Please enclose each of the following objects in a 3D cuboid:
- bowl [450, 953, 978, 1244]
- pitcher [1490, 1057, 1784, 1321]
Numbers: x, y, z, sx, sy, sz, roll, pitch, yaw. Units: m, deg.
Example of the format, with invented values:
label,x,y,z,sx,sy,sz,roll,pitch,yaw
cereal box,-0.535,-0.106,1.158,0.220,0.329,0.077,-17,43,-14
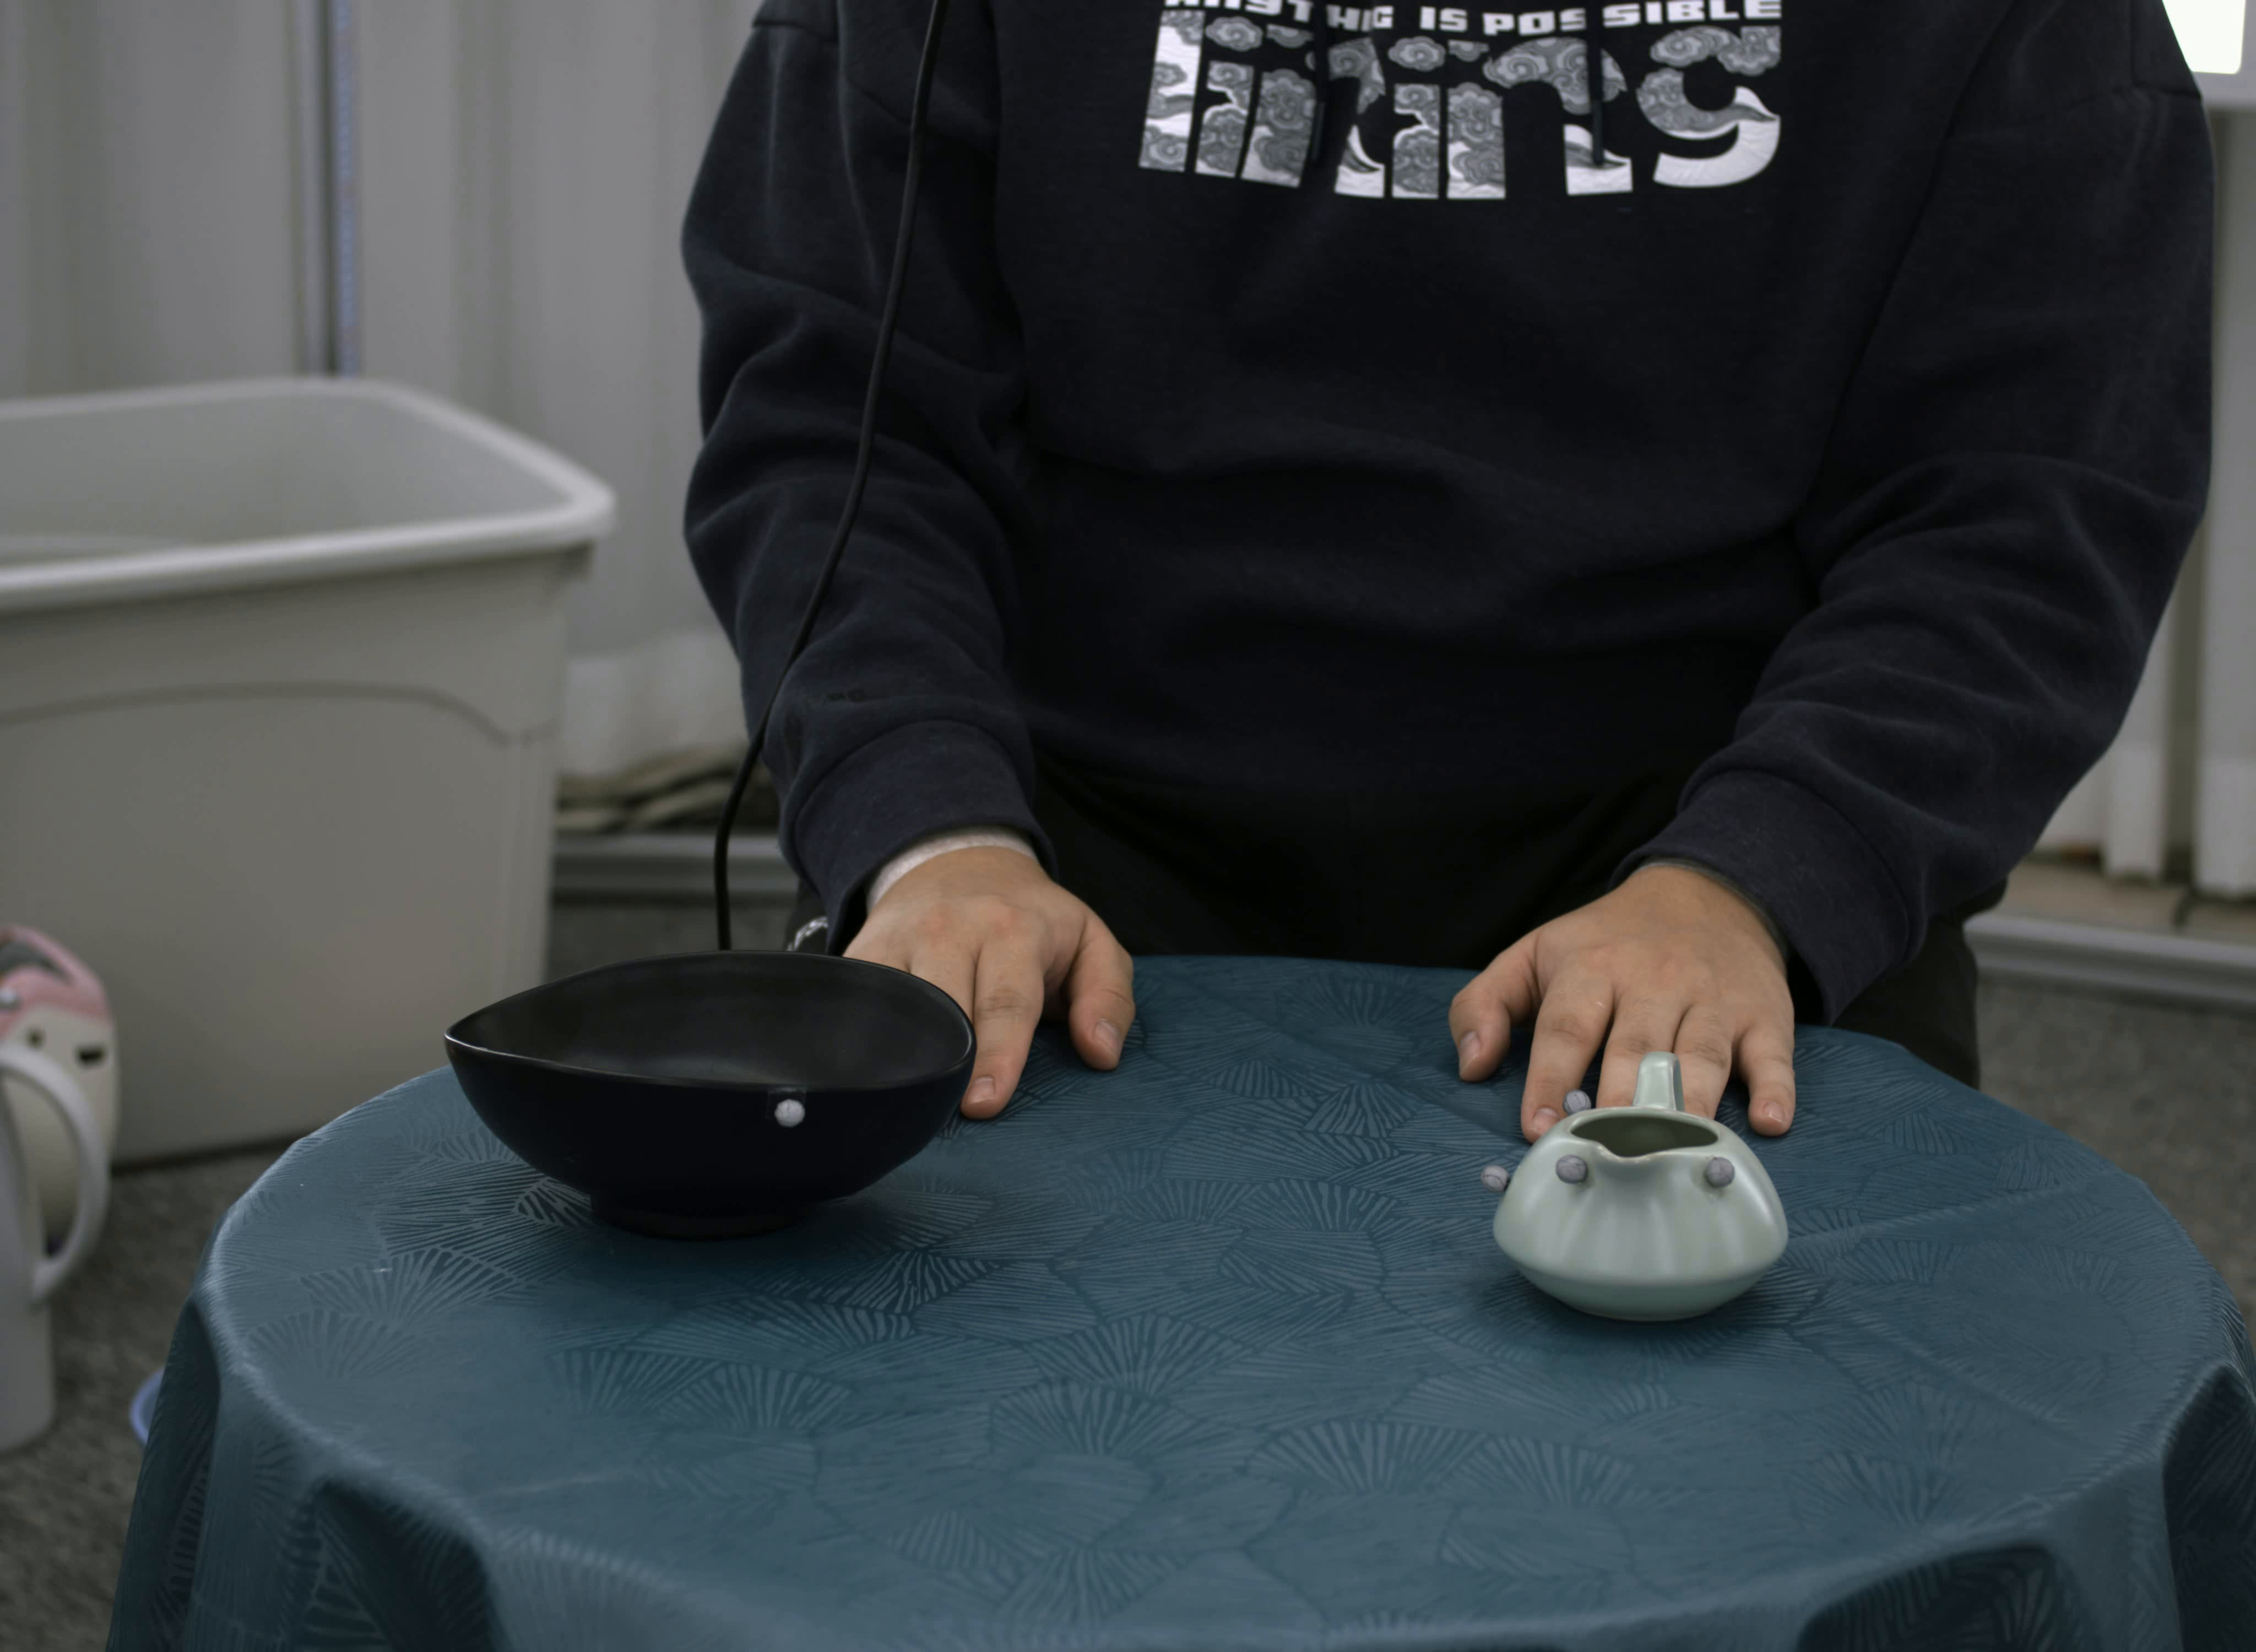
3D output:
label,x,y,z,sx,sy,sz,roll,pitch,yaw
bowl,-0.127,0.086,1.597,0.168,0.067,0.137,6,16,23
pitcher,0.151,0.107,1.549,0.085,0.061,0.108,4,14,9
